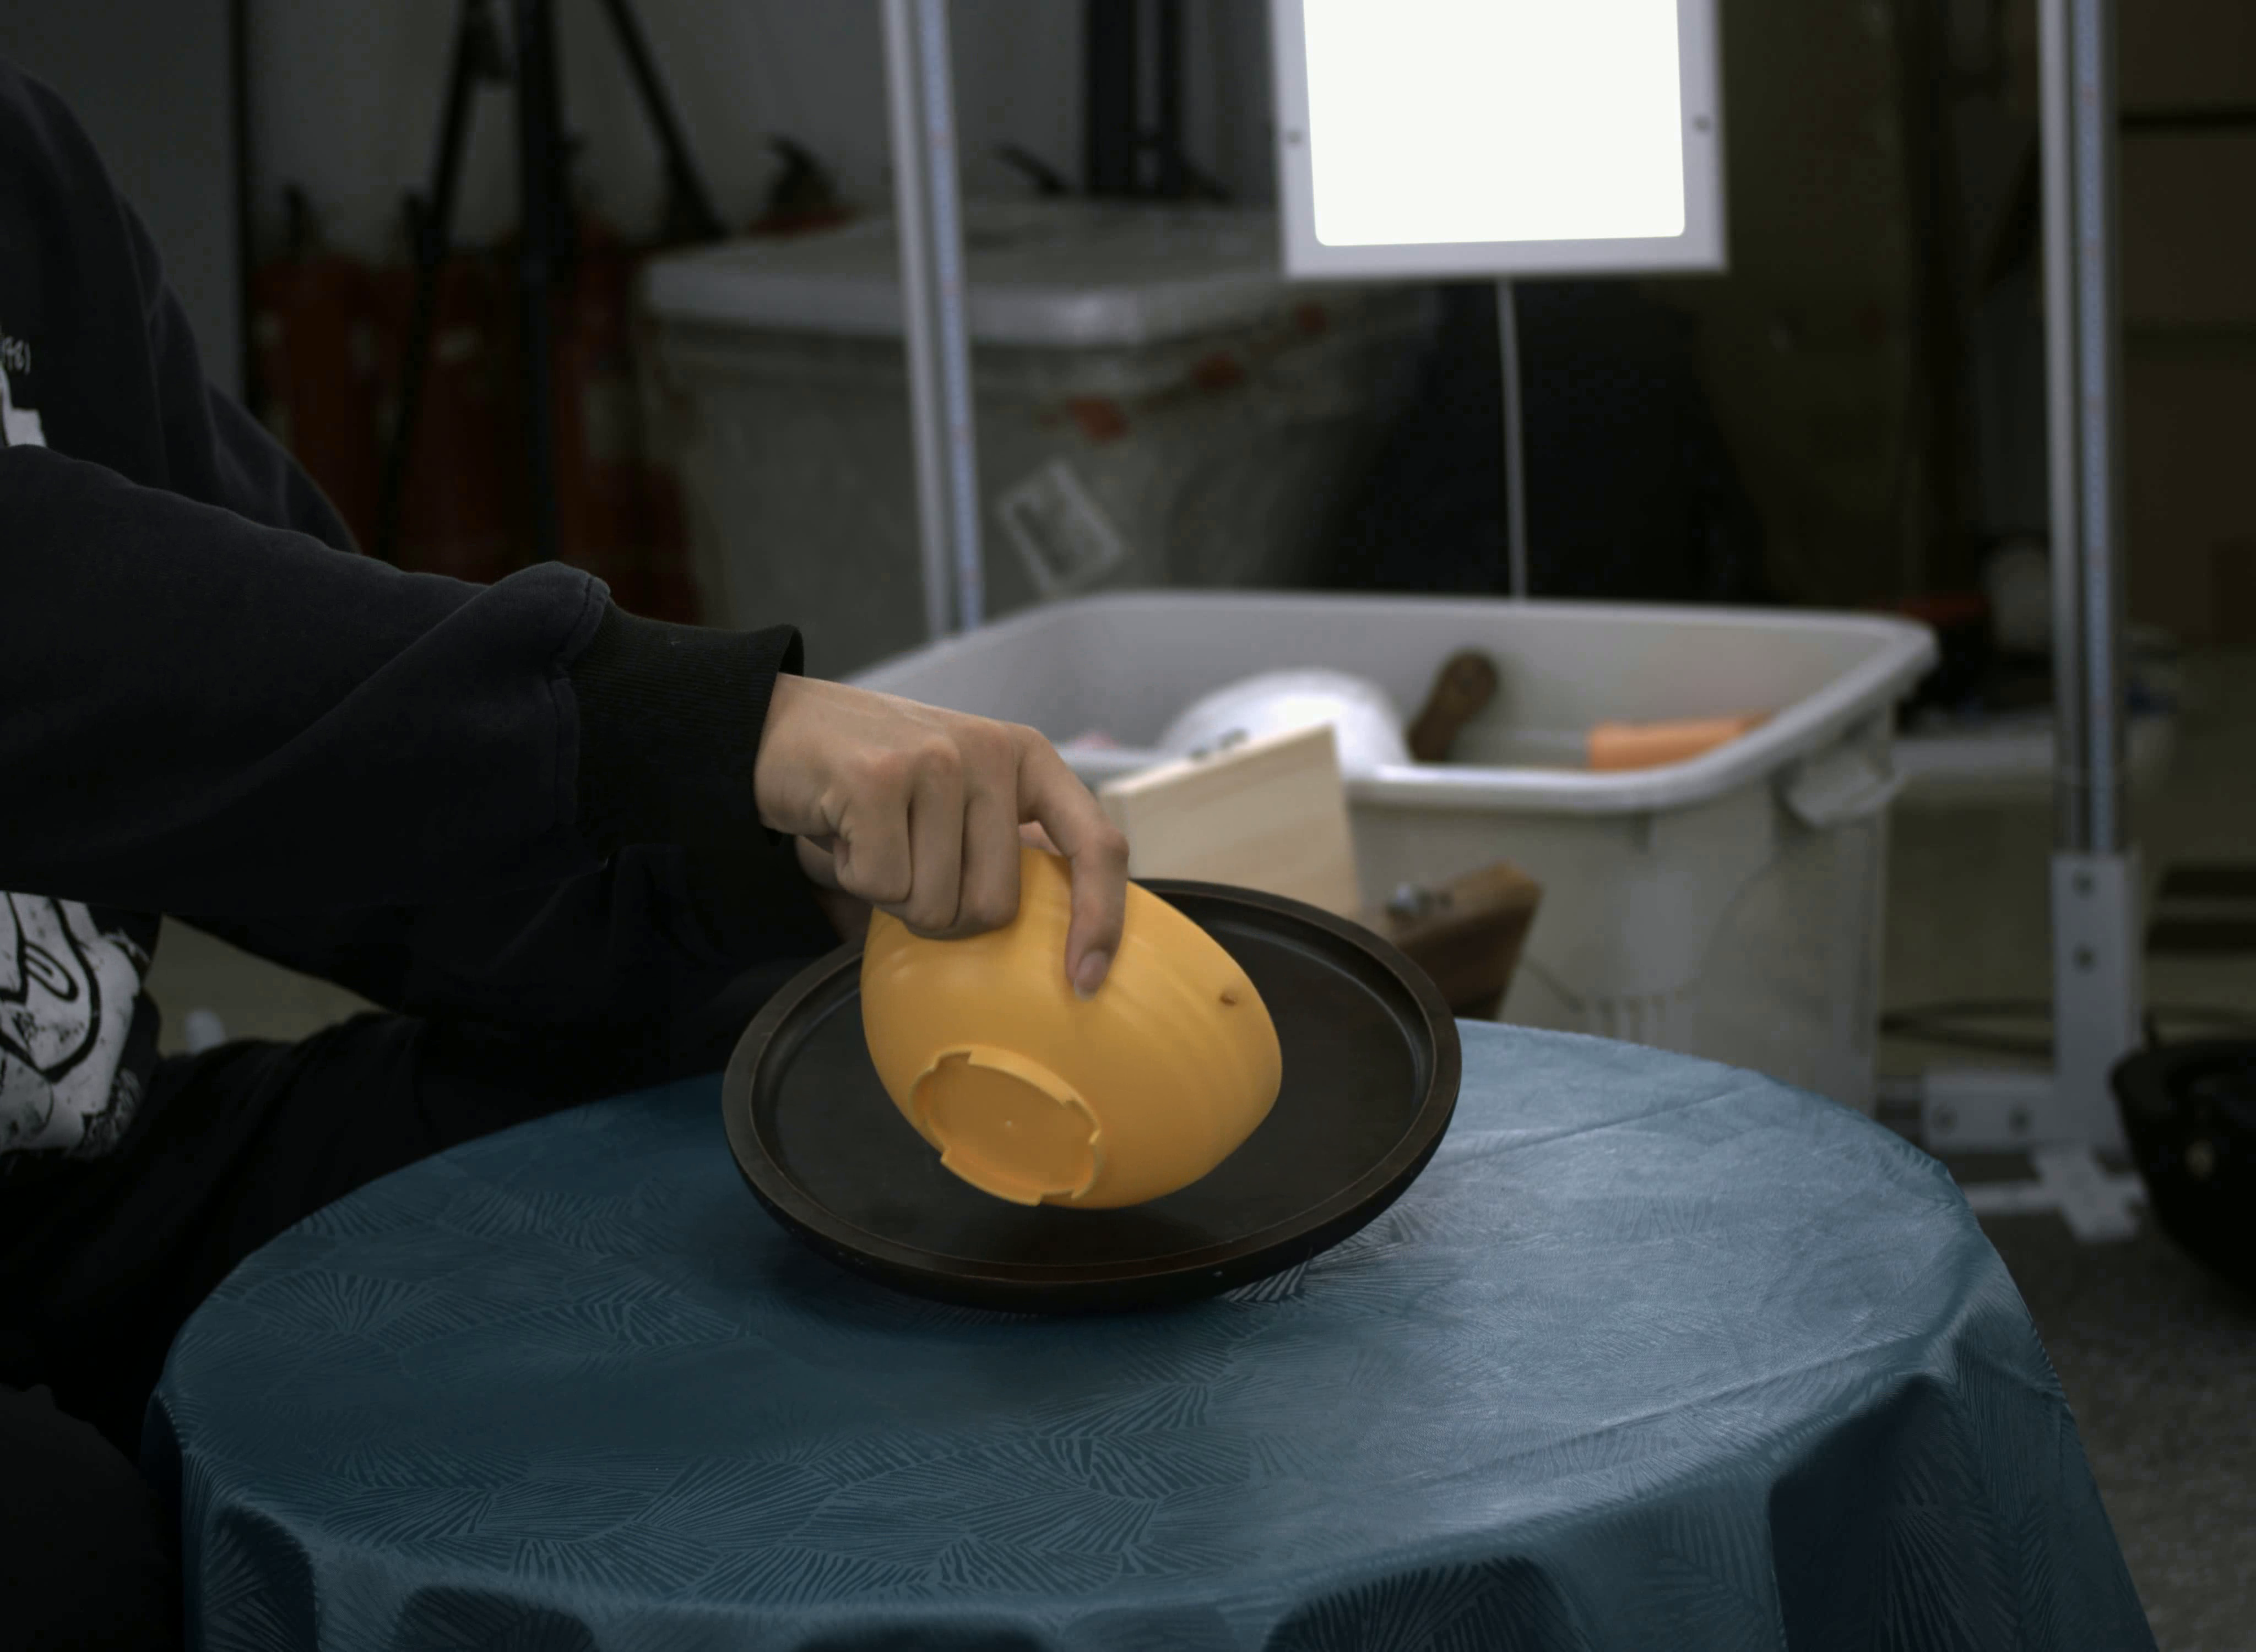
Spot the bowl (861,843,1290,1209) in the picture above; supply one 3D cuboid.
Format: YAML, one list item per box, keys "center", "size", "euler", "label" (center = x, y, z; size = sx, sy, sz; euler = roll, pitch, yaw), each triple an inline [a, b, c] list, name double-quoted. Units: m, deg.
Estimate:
- center: [-0.026, 0.077, 1.742]
  size: [0.148, 0.145, 0.059]
  euler: [3, 45, 27]
  label: "bowl"

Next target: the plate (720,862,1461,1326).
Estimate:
- center: [-0.012, 0.091, 1.870]
  size: [0.254, 0.029, 0.254]
  euler: [-6, 32, 2]
  label: "plate"
